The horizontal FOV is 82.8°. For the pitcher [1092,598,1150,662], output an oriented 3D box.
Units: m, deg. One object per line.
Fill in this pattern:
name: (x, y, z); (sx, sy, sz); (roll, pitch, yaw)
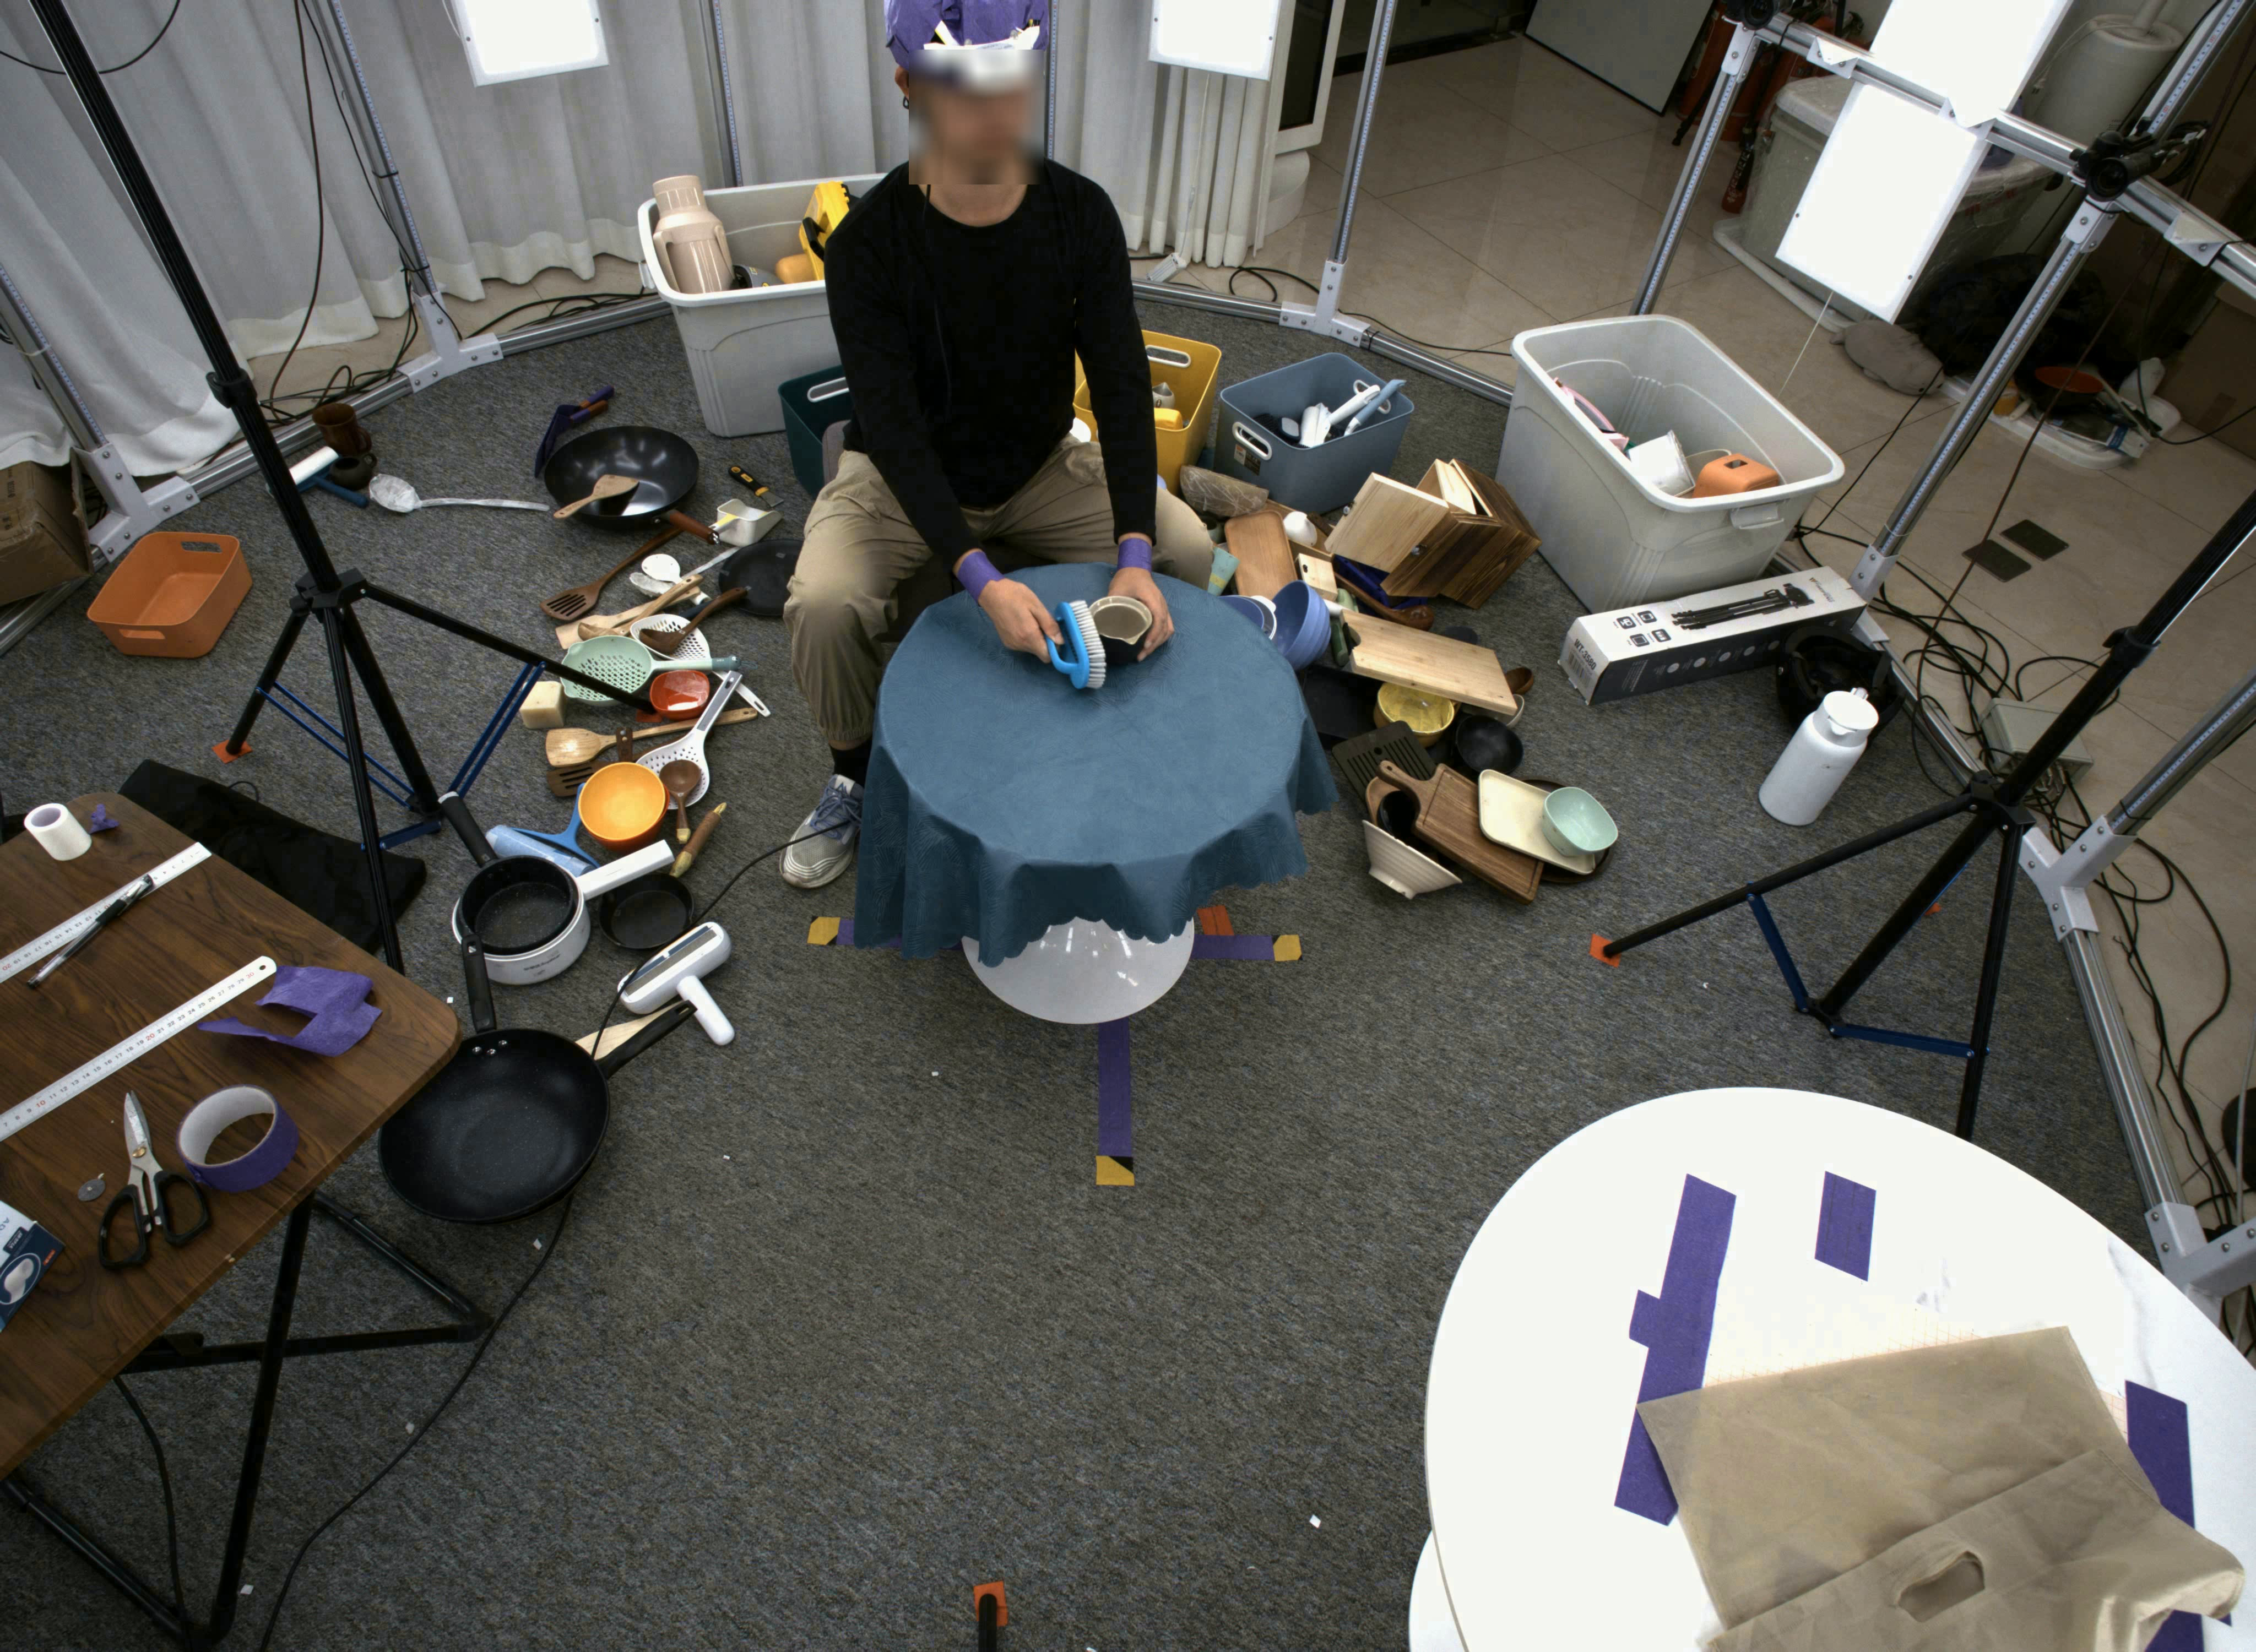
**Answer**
pitcher: (-0.010, -0.277, 1.857); (0.083, 0.069, 0.098); (-8, 51, -12)

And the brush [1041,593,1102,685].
brush: (-0.085, -0.261, 1.821); (0.064, 0.082, 0.145); (-9, 62, -18)
